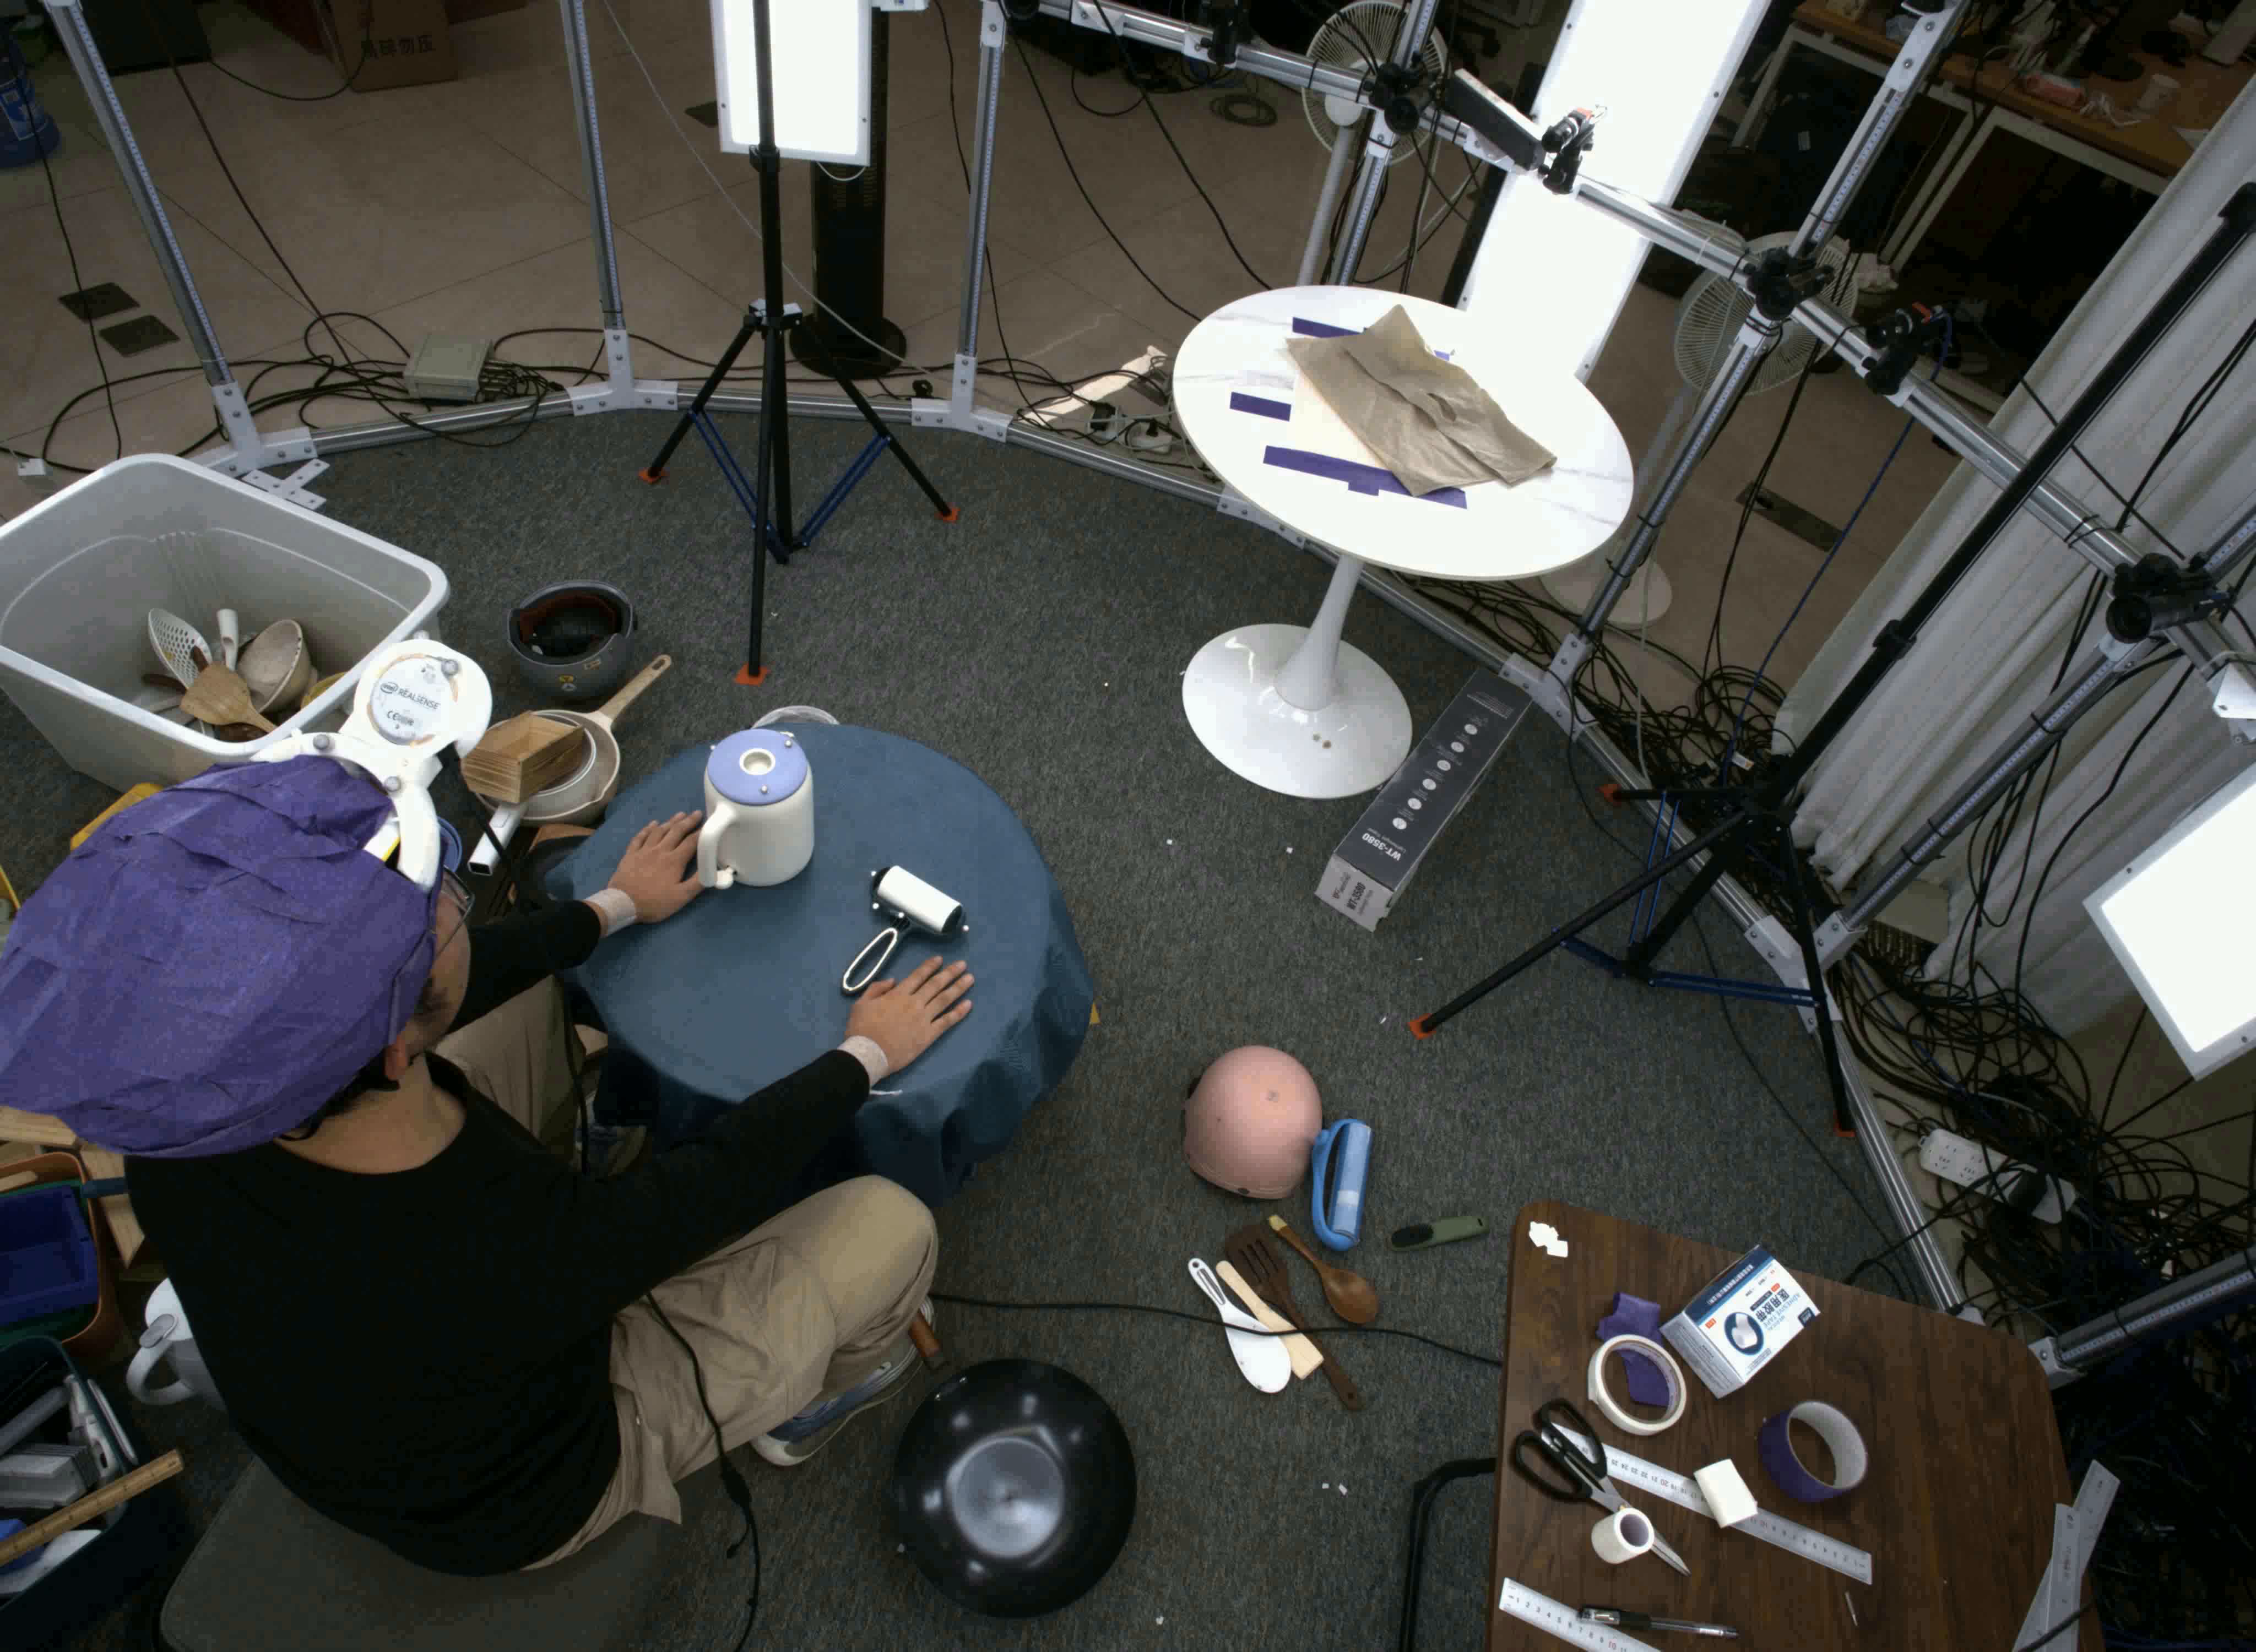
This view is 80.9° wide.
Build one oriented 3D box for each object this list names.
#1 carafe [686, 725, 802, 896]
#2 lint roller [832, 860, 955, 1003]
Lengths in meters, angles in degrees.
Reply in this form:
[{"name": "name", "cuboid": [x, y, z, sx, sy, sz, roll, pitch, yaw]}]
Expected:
[{"name": "carafe", "cuboid": [-0.486, -0.006, 1.596, 0.130, 0.186, 0.190, 23, 53, 7]}, {"name": "lint roller", "cuboid": [-0.312, 0.138, 1.618, 0.132, 0.049, 0.179, 29, 55, 8]}]
